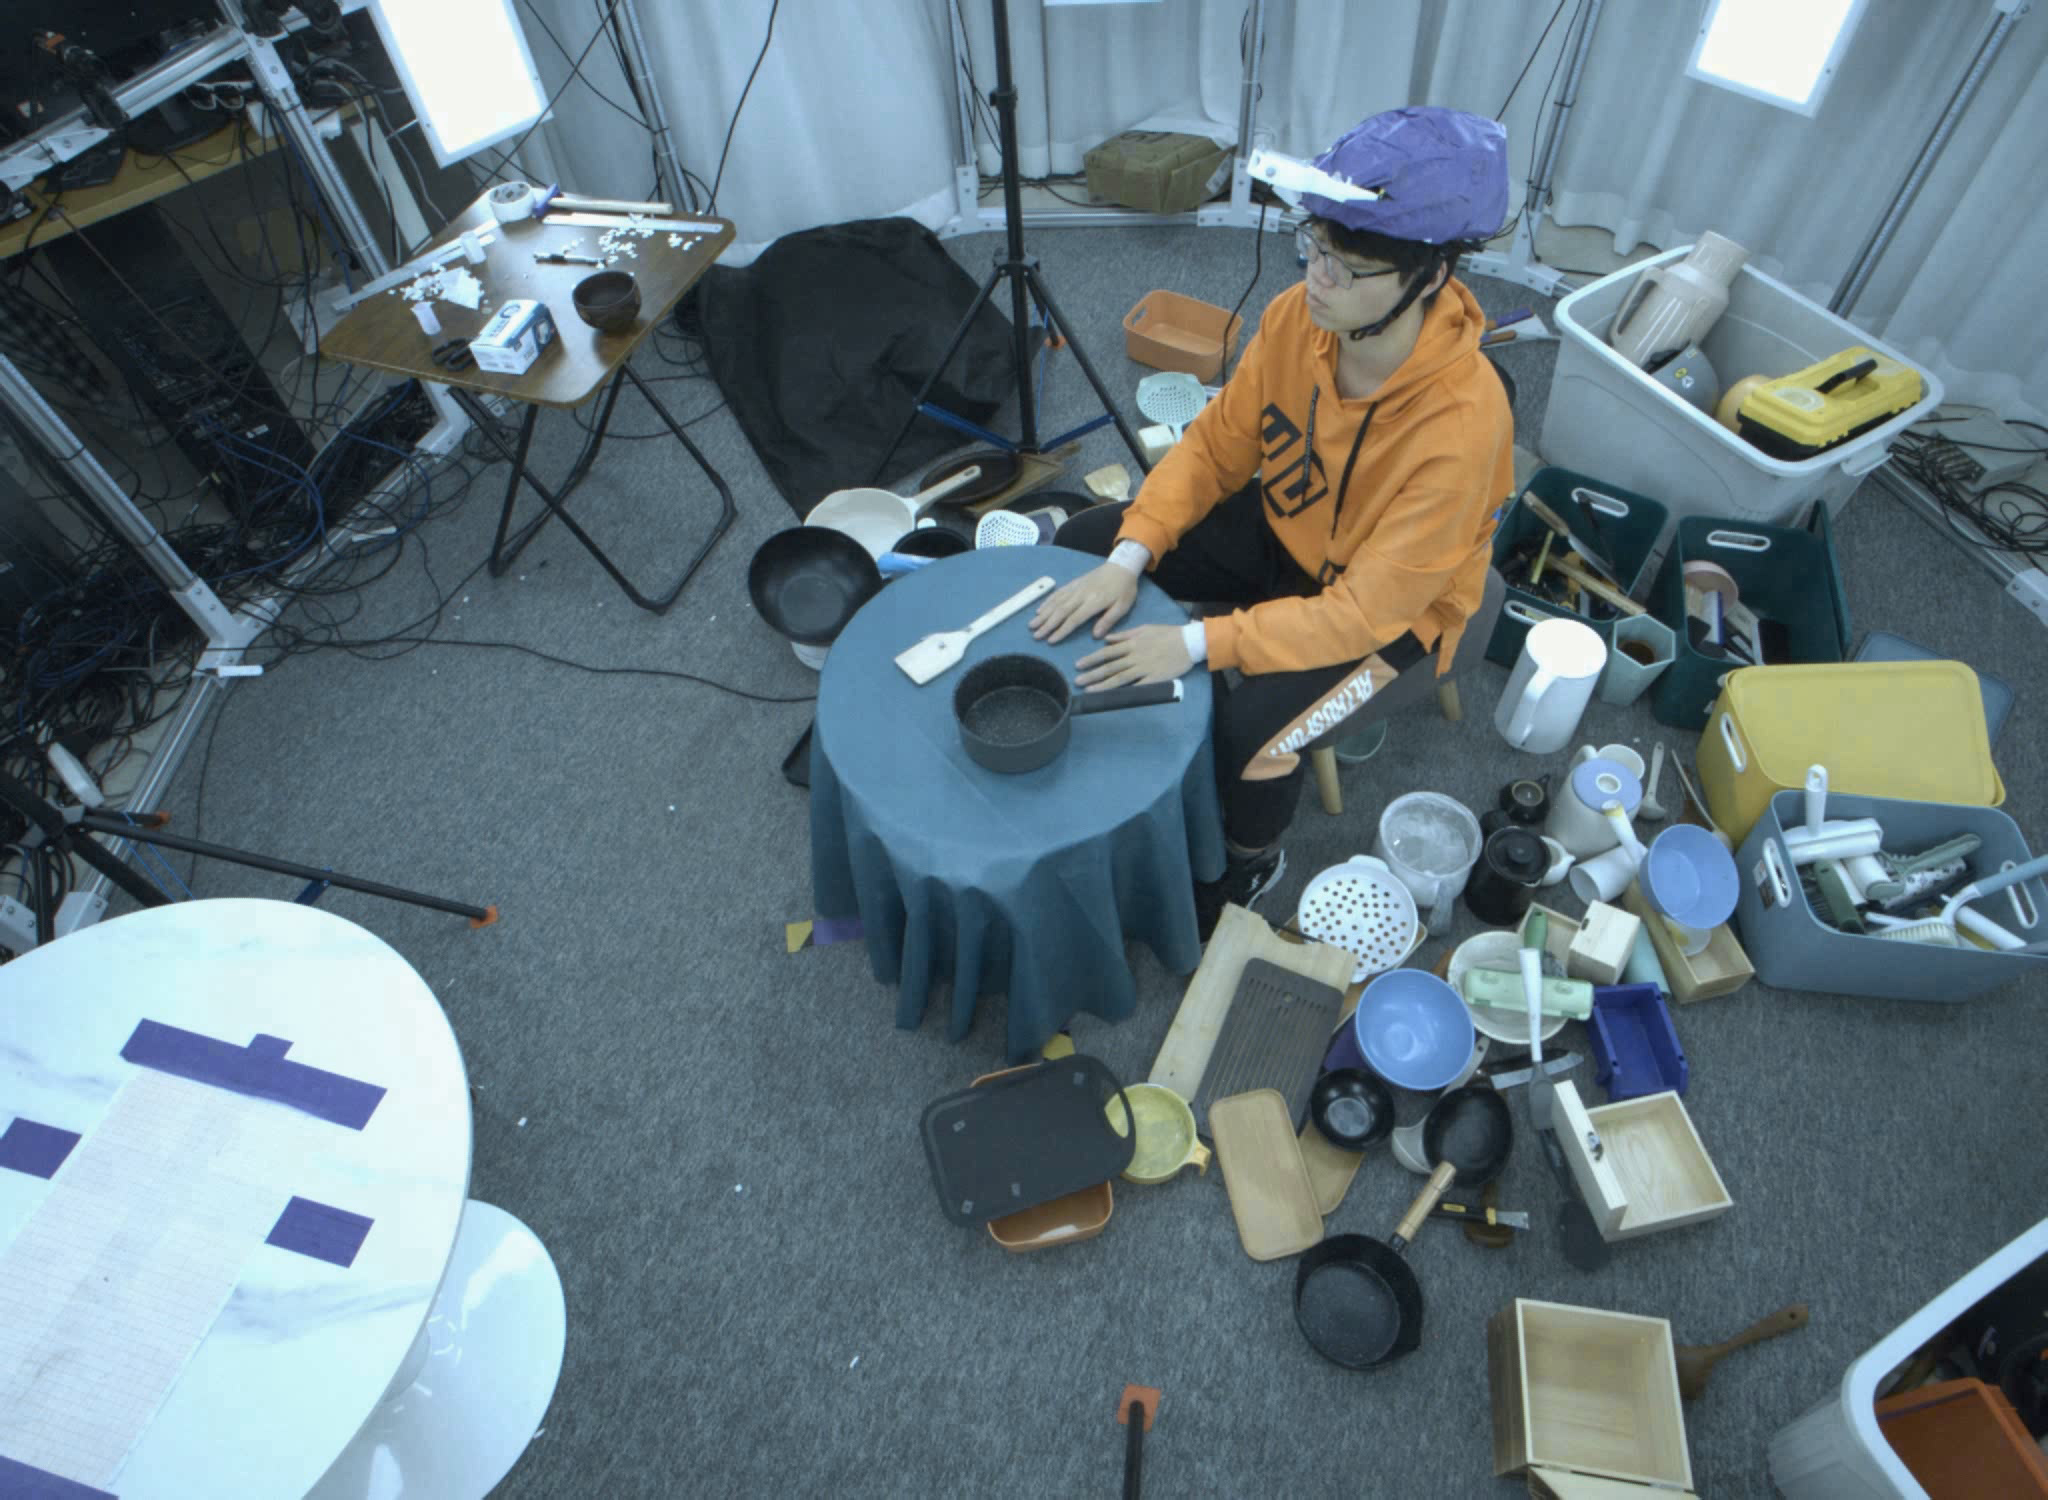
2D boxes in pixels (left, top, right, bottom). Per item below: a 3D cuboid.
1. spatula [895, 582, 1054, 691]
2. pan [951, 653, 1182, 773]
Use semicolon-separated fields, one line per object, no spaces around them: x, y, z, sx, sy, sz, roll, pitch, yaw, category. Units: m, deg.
-0.070;-0.187;1.927;0.295;0.011;0.071;-36;58;-20;spatula
0.063;-0.055;1.772;0.328;0.087;0.170;-1;55;4;pan
